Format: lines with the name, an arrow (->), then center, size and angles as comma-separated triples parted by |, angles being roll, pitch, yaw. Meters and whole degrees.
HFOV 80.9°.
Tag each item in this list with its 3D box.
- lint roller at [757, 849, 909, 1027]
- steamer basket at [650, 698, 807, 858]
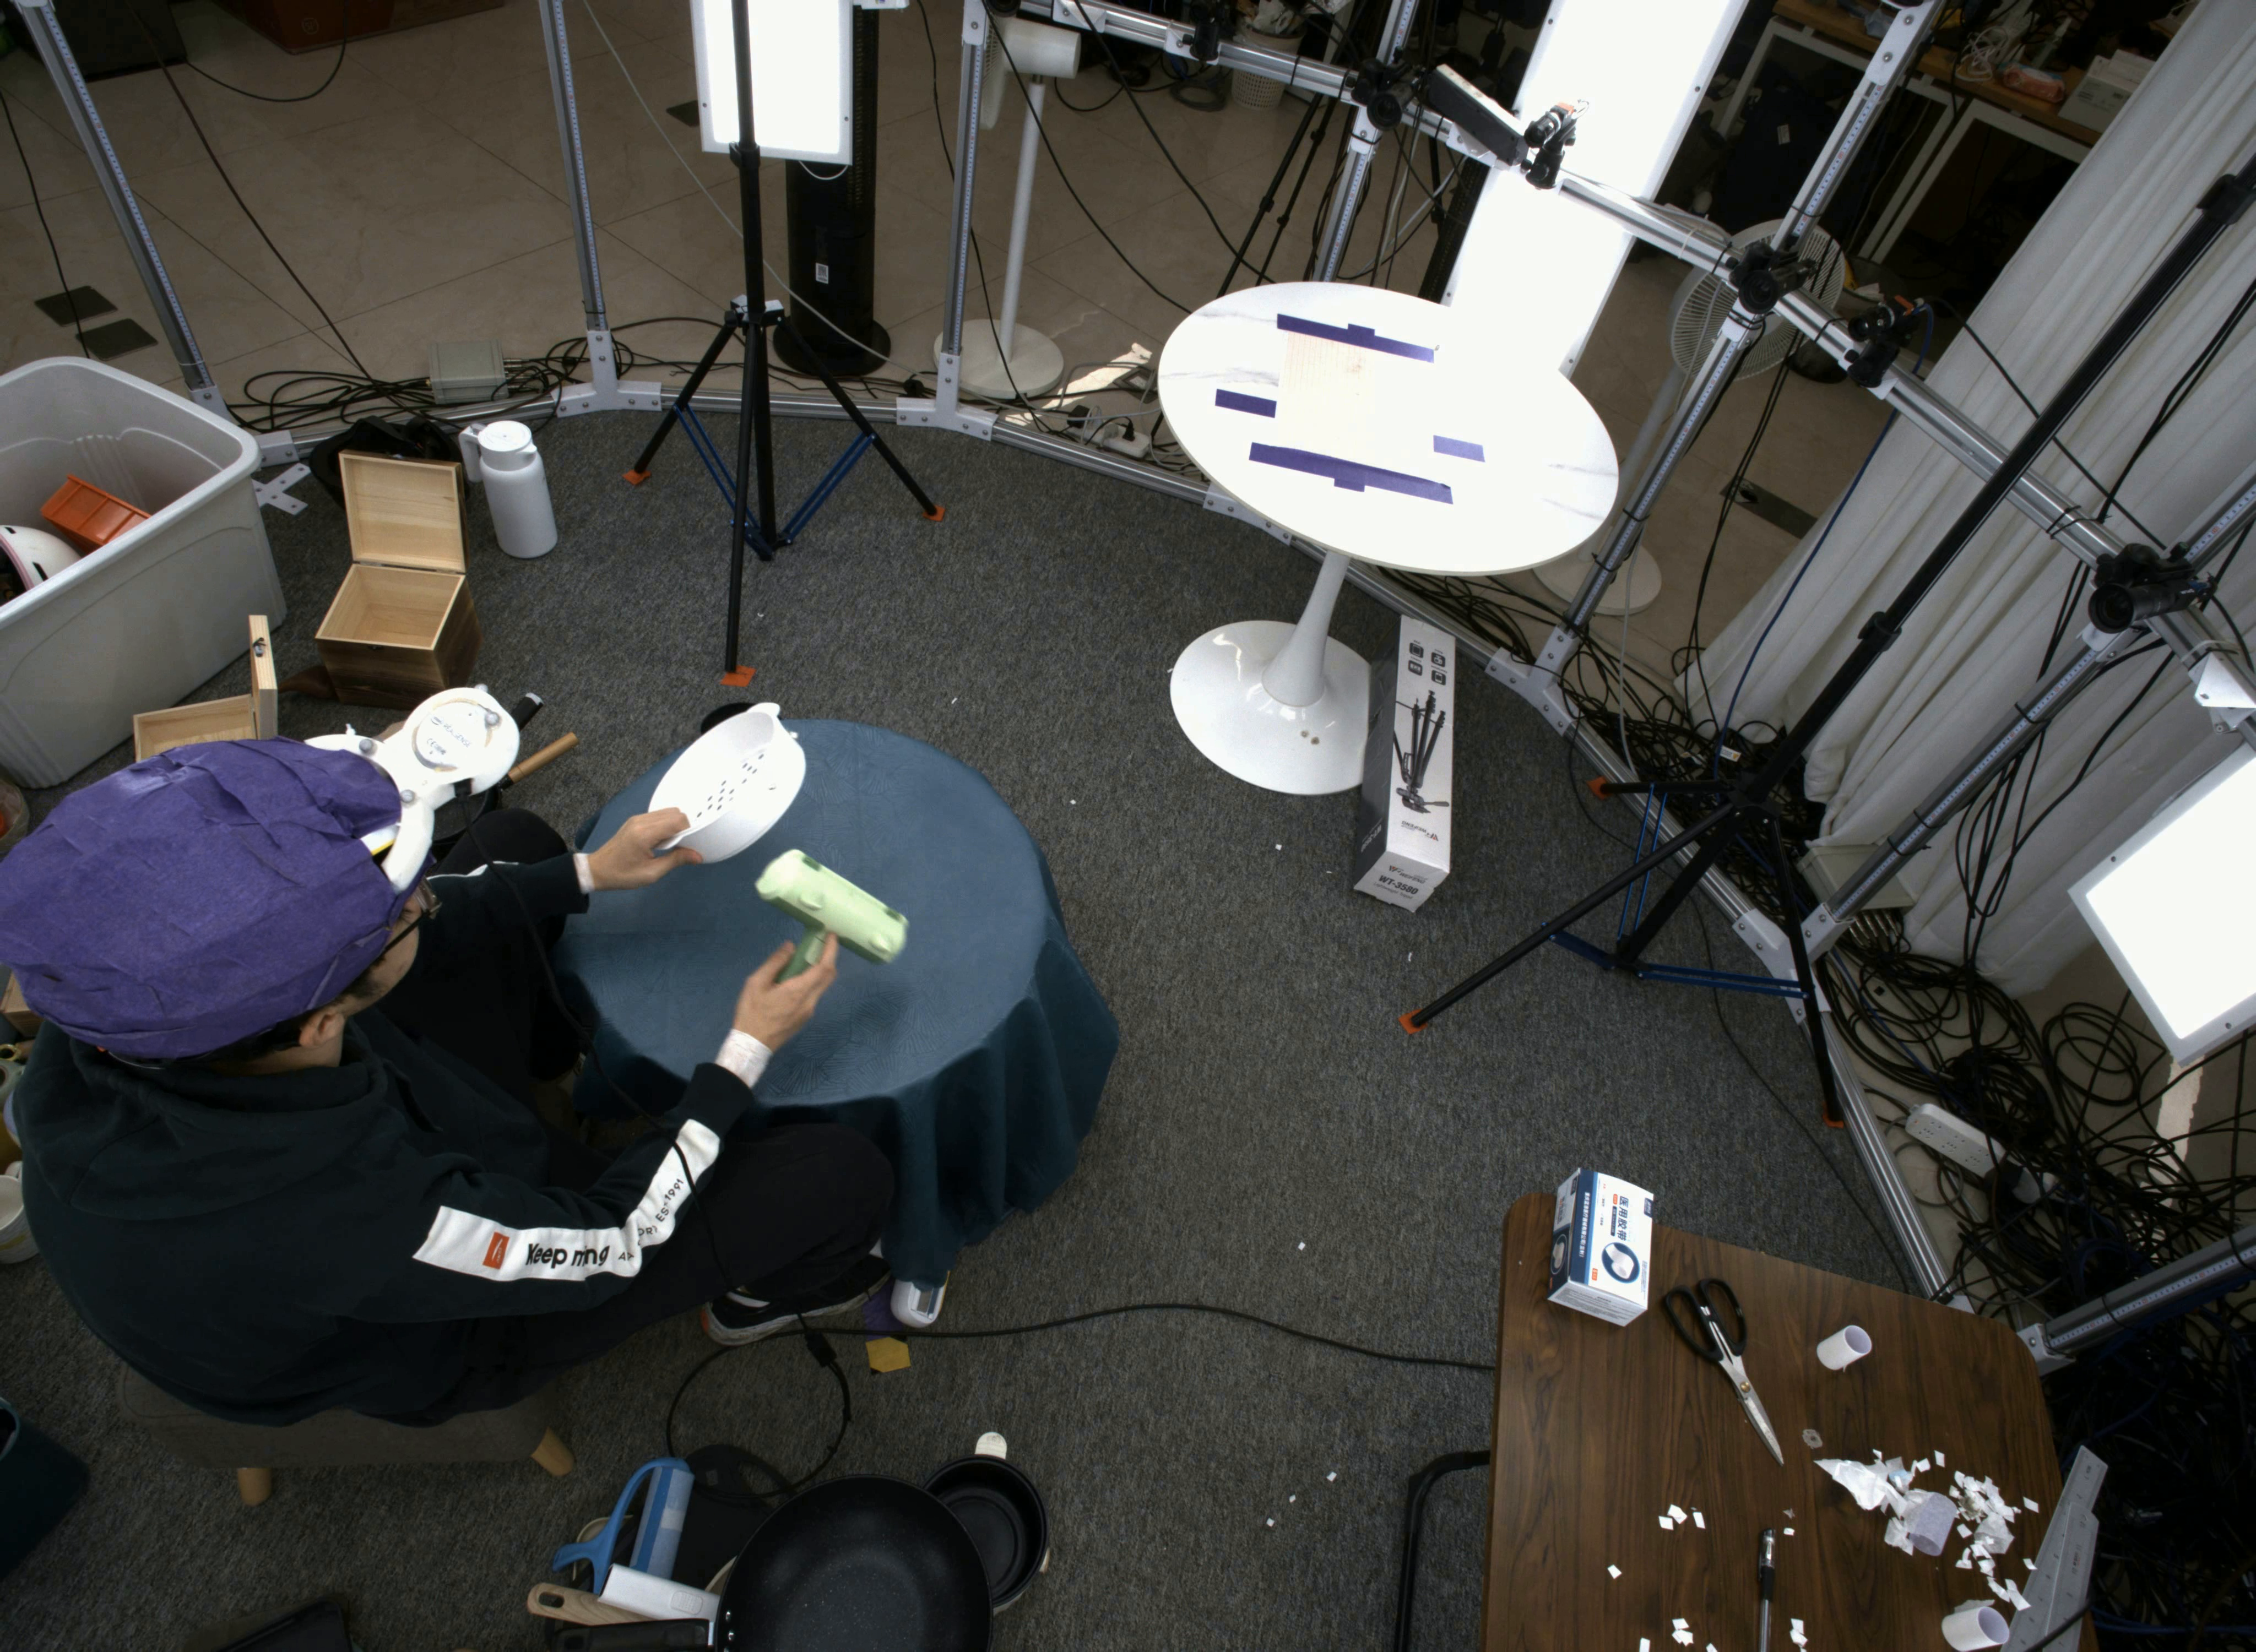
lint roller -> -0.356, 0.149, 1.489 | 0.079, 0.206, 0.183 | 9, 67, 42
steamer basket -> -0.482, -0.052, 1.568 | 0.195, 0.072, 0.230 | 6, 53, 40
